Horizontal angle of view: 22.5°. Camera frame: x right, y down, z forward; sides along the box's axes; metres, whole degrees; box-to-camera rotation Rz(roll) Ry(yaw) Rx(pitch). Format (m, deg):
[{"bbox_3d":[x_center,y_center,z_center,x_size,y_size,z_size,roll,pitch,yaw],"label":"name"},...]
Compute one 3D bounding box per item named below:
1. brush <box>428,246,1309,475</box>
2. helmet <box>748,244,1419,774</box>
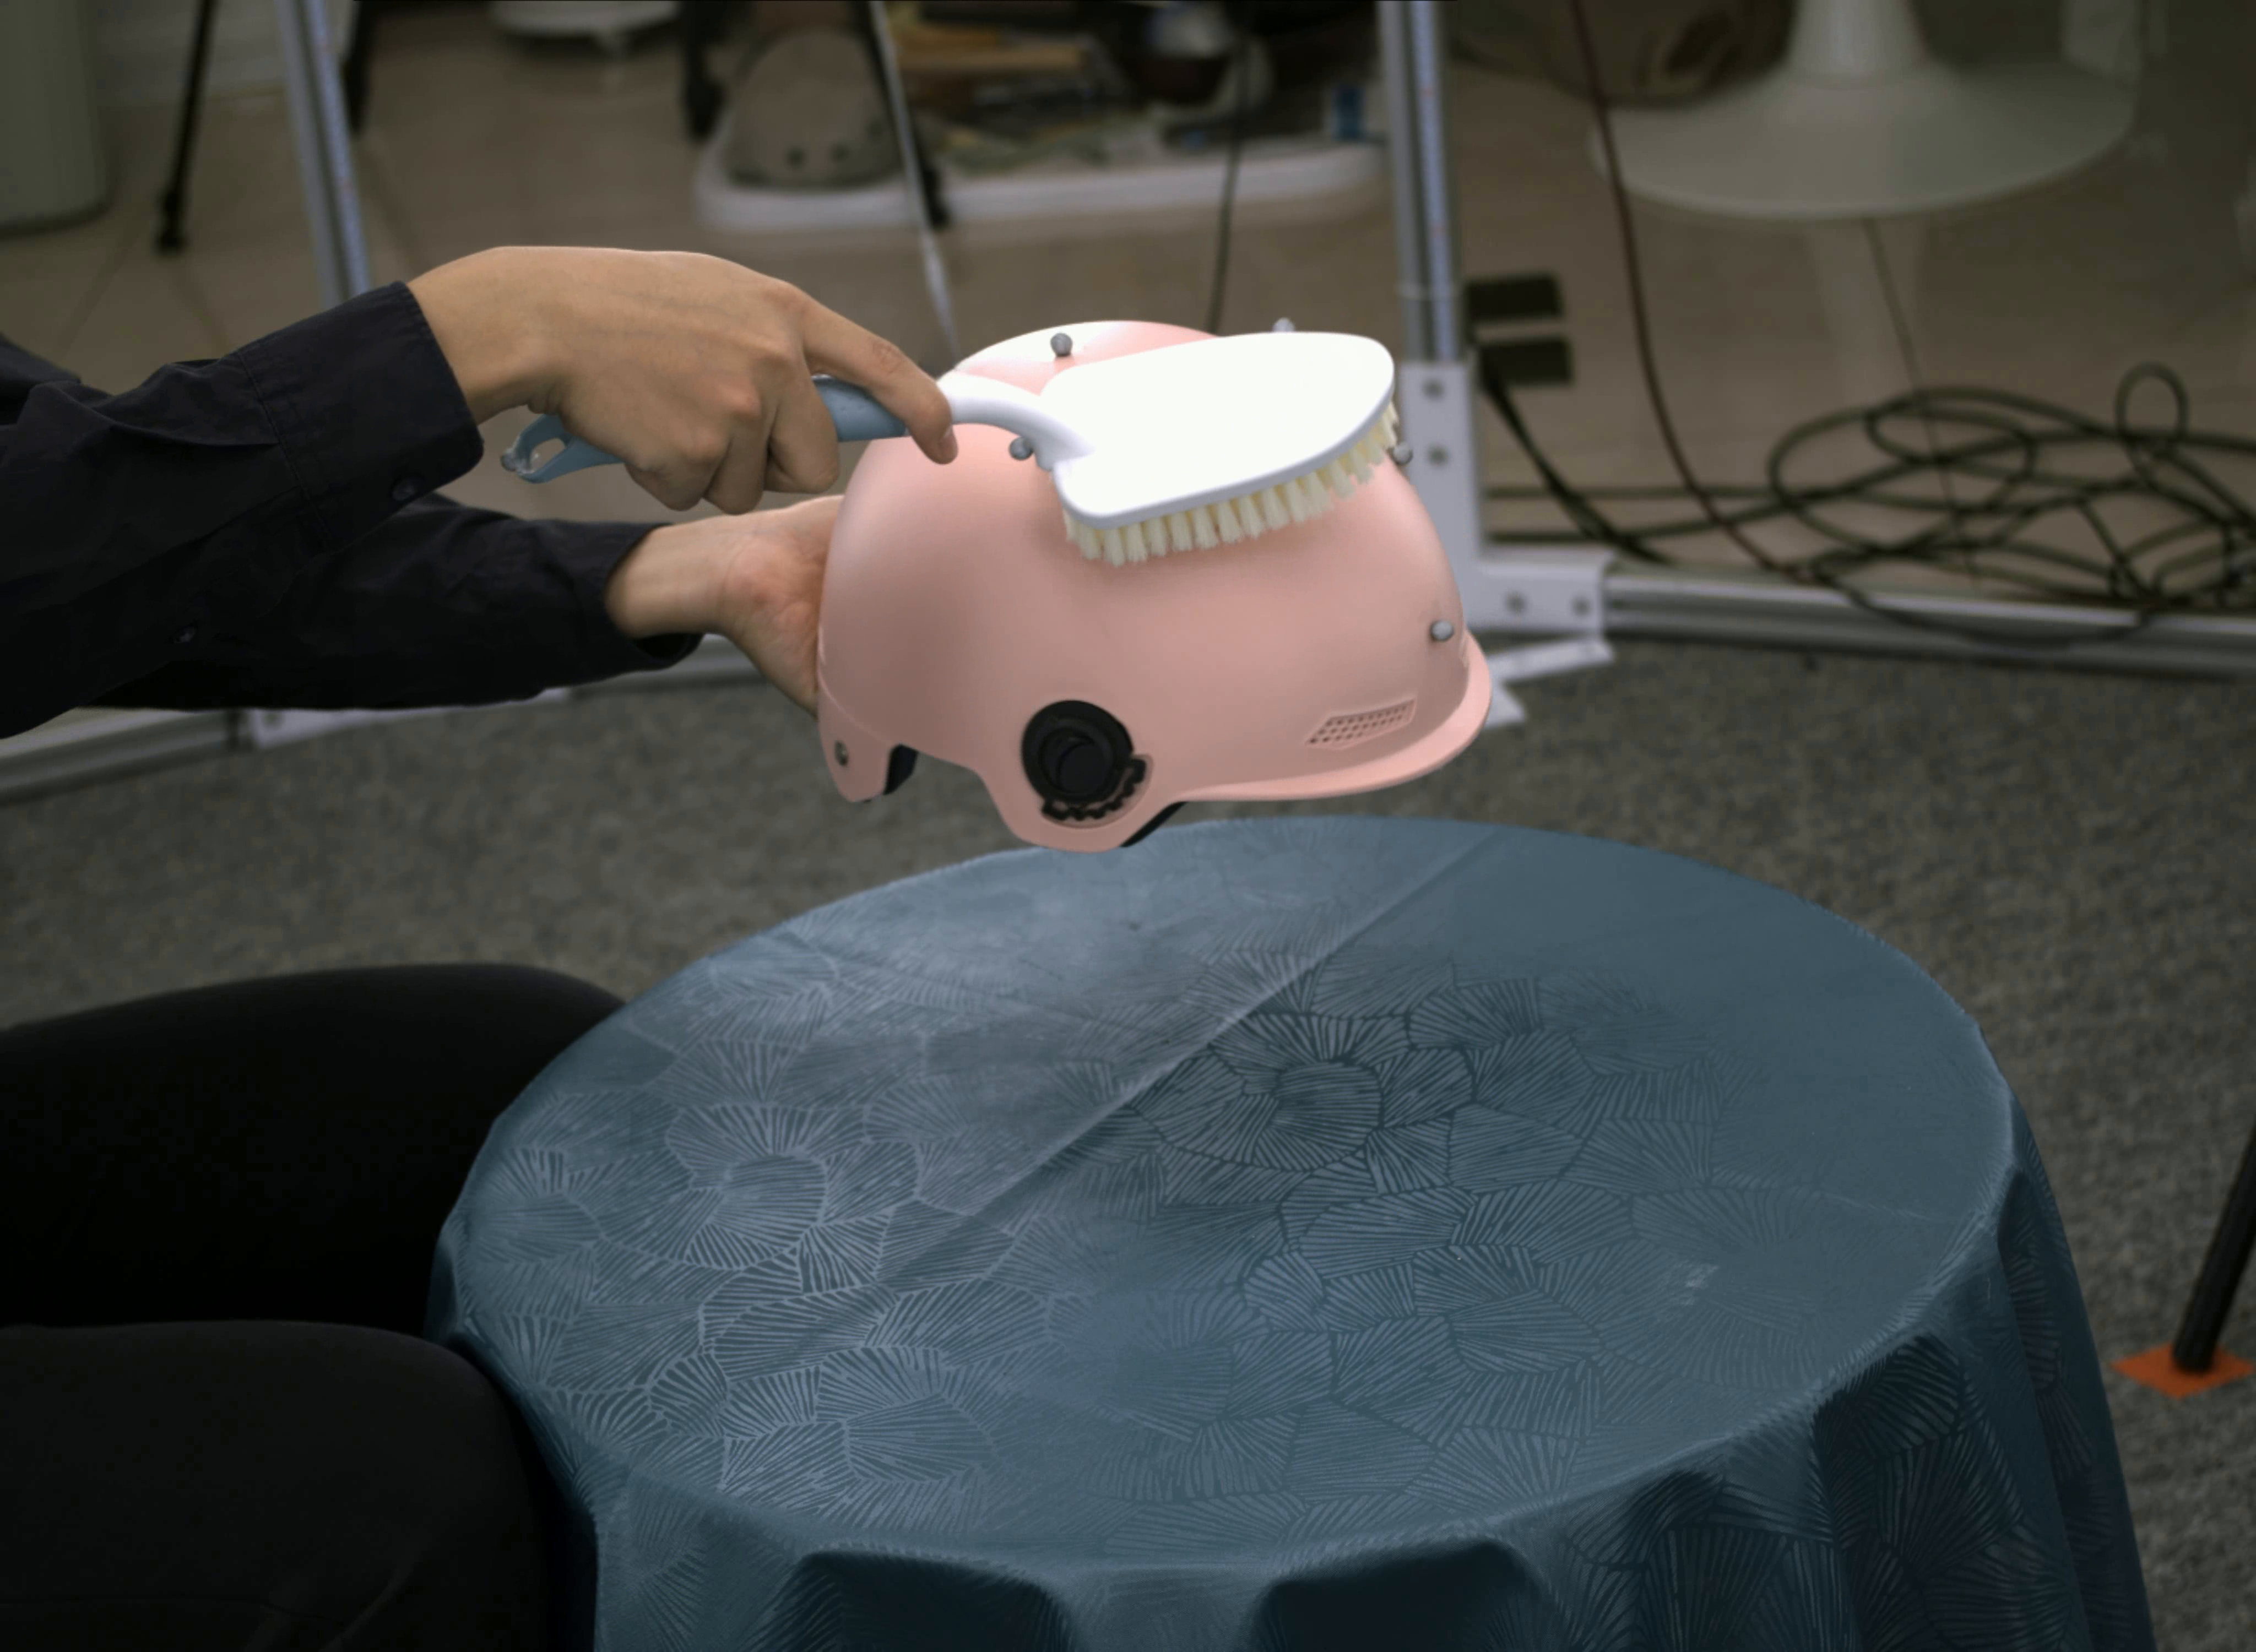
[{"bbox_3d":[-0.093,-0.166,2.040,0.325,0.086,0.082,-6,23,-13],"label":"brush"},{"bbox_3d":[-0.020,-0.137,2.167,0.265,0.161,0.231,11,31,24],"label":"helmet"}]
